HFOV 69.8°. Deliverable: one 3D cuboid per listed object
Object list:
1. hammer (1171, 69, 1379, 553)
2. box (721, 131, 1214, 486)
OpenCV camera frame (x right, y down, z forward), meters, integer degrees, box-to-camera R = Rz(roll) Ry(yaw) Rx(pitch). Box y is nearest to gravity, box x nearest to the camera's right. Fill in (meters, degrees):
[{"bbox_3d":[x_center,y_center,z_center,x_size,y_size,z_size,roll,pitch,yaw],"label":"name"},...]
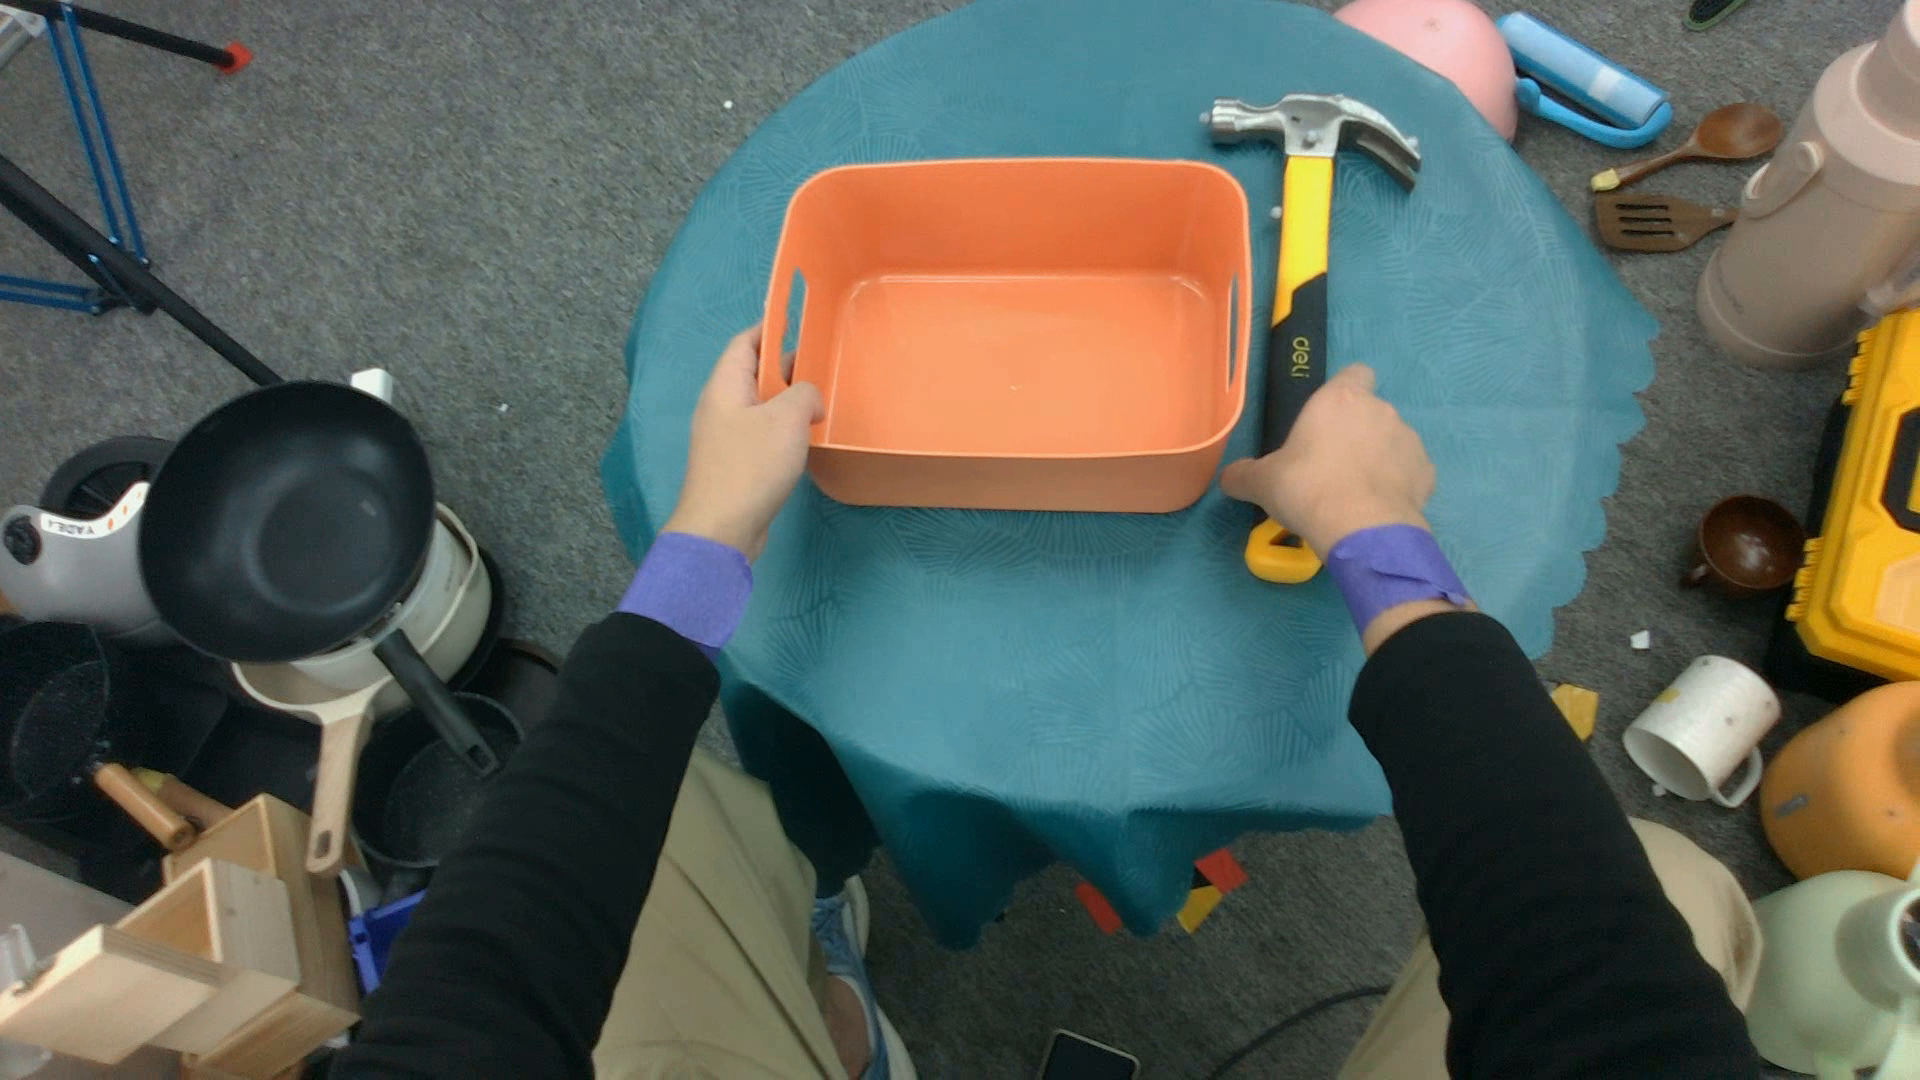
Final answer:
[{"bbox_3d":[0.185,-0.150,0.837,0.131,0.032,0.339,5,66,8],"label":"hammer"},{"bbox_3d":[0.009,-0.128,0.810,0.273,0.102,0.200,1,67,7],"label":"box"}]
